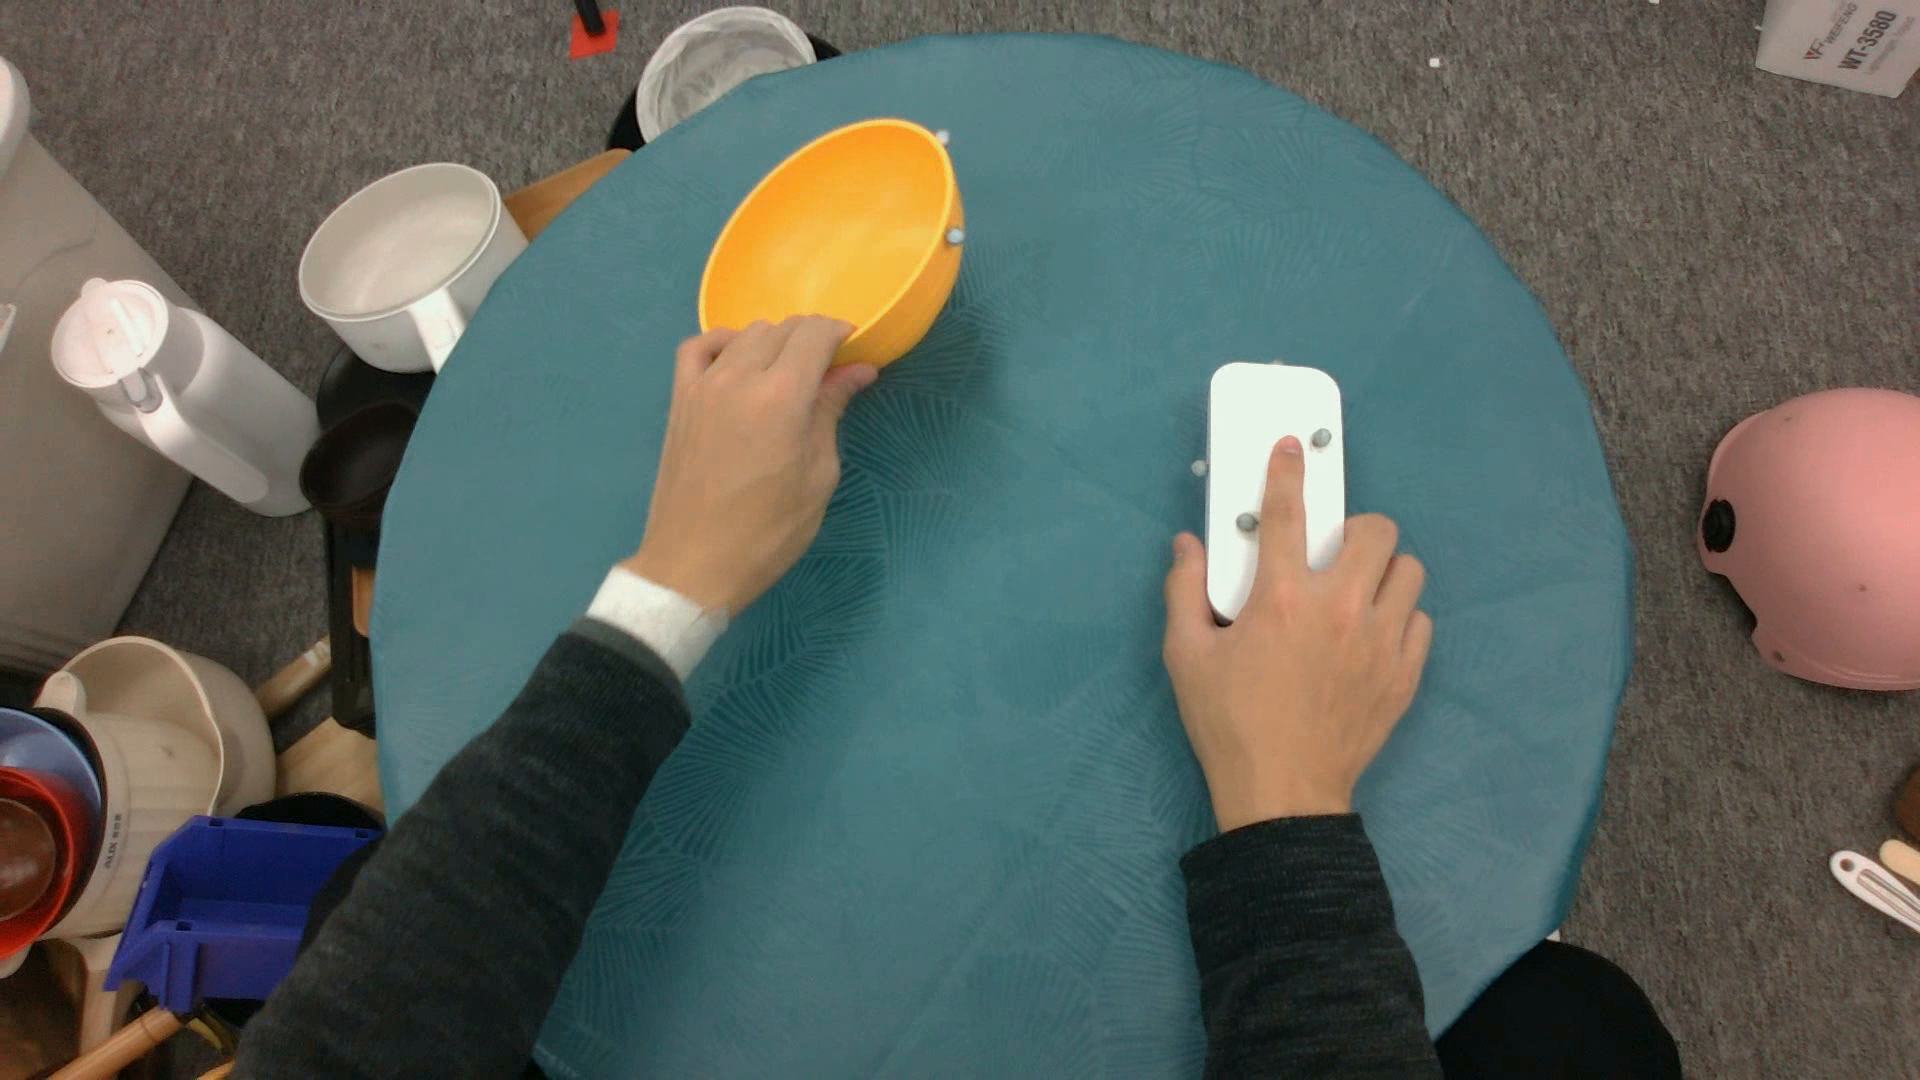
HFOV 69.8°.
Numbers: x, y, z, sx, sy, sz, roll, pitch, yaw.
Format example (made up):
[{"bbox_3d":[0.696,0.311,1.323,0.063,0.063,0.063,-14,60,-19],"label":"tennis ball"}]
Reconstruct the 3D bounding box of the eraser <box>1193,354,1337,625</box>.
[{"bbox_3d":[0.138,-0.025,0.636,0.063,0.034,0.132,6,65,-5],"label":"eraser"}]

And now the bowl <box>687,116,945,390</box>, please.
[{"bbox_3d":[-0.057,-0.124,0.652,0.145,0.060,0.146,-21,52,29],"label":"bowl"}]
